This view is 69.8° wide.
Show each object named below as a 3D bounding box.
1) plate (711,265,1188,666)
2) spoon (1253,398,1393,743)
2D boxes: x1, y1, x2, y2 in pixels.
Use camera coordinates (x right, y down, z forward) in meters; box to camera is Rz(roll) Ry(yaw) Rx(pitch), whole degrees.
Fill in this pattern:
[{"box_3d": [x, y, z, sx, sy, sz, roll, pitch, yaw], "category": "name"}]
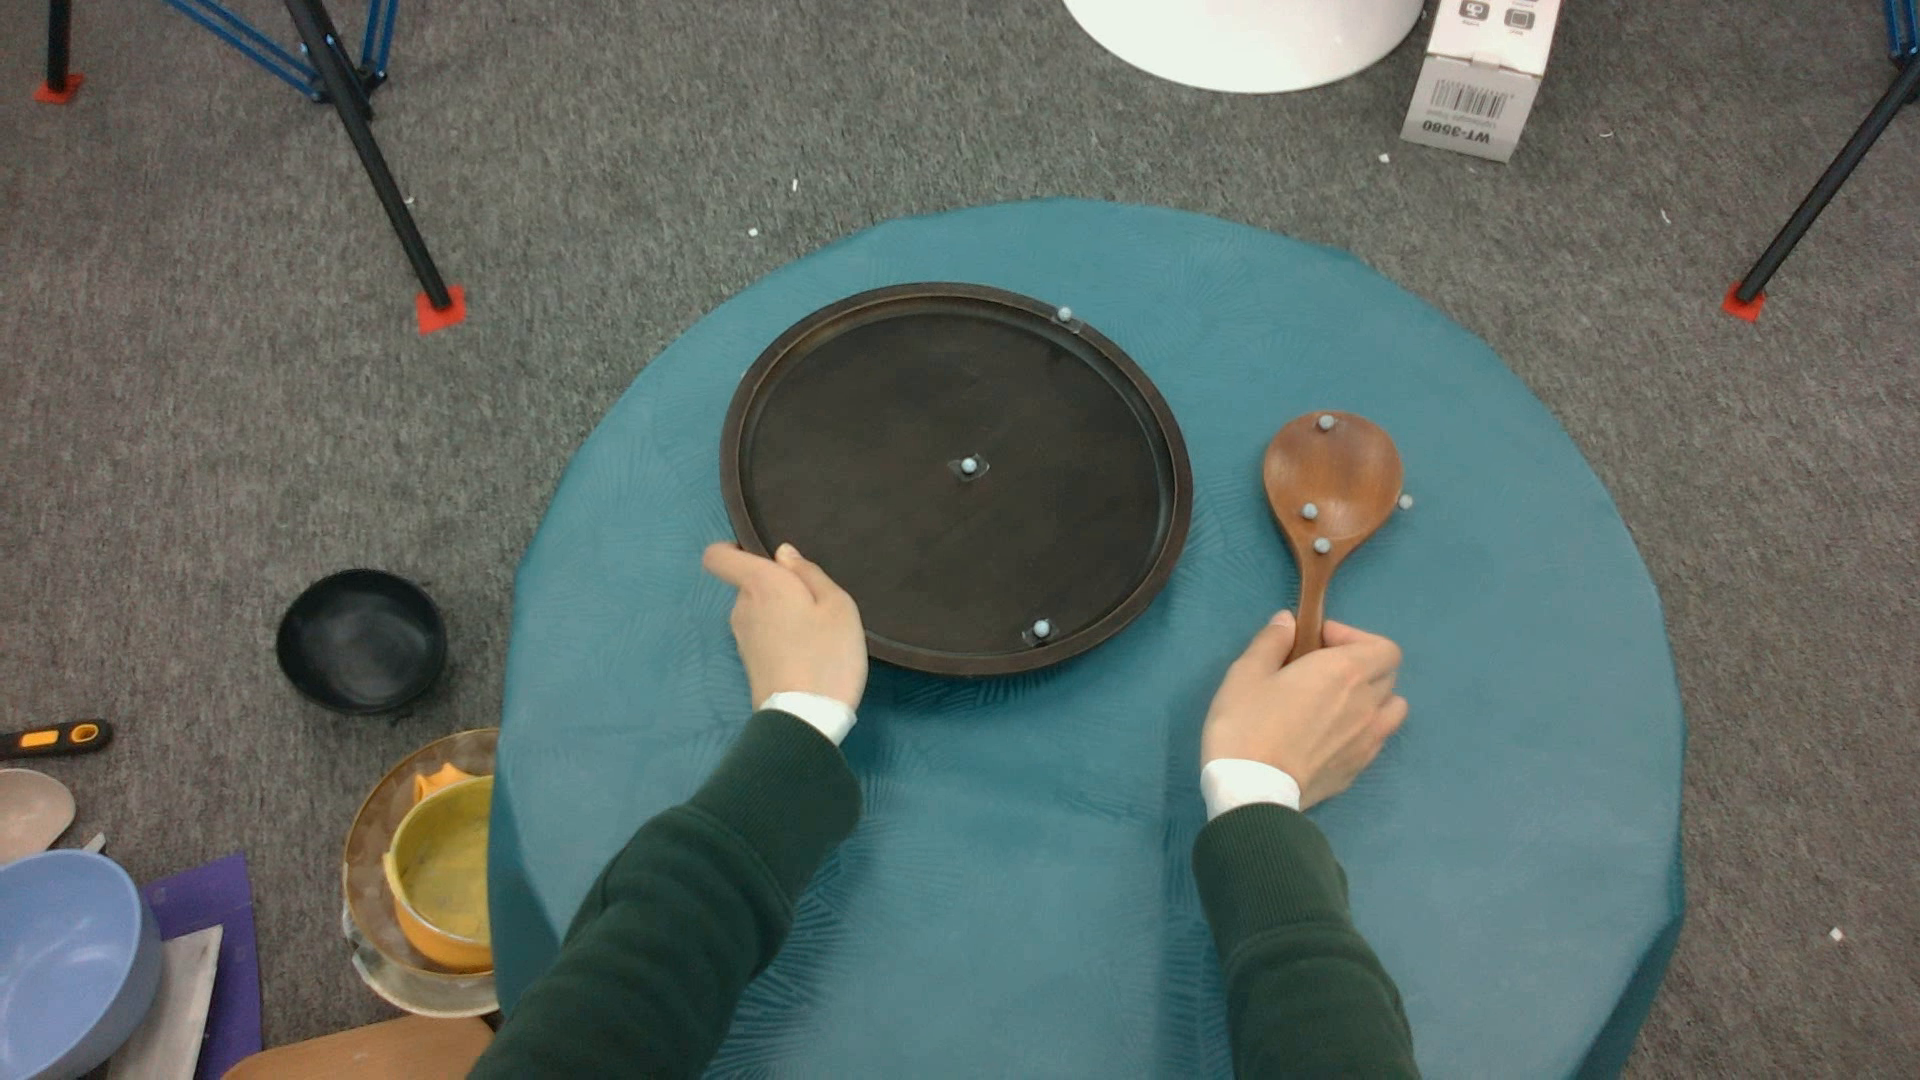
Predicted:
[{"box_3d": [-0.004, -0.045, 0.734, 0.255, 0.029, 0.256, 4, 57, -5], "category": "plate"}, {"box_3d": [0.181, 0.010, 0.714, 0.075, 0.017, 0.217, 12, 55, 9], "category": "spoon"}]
